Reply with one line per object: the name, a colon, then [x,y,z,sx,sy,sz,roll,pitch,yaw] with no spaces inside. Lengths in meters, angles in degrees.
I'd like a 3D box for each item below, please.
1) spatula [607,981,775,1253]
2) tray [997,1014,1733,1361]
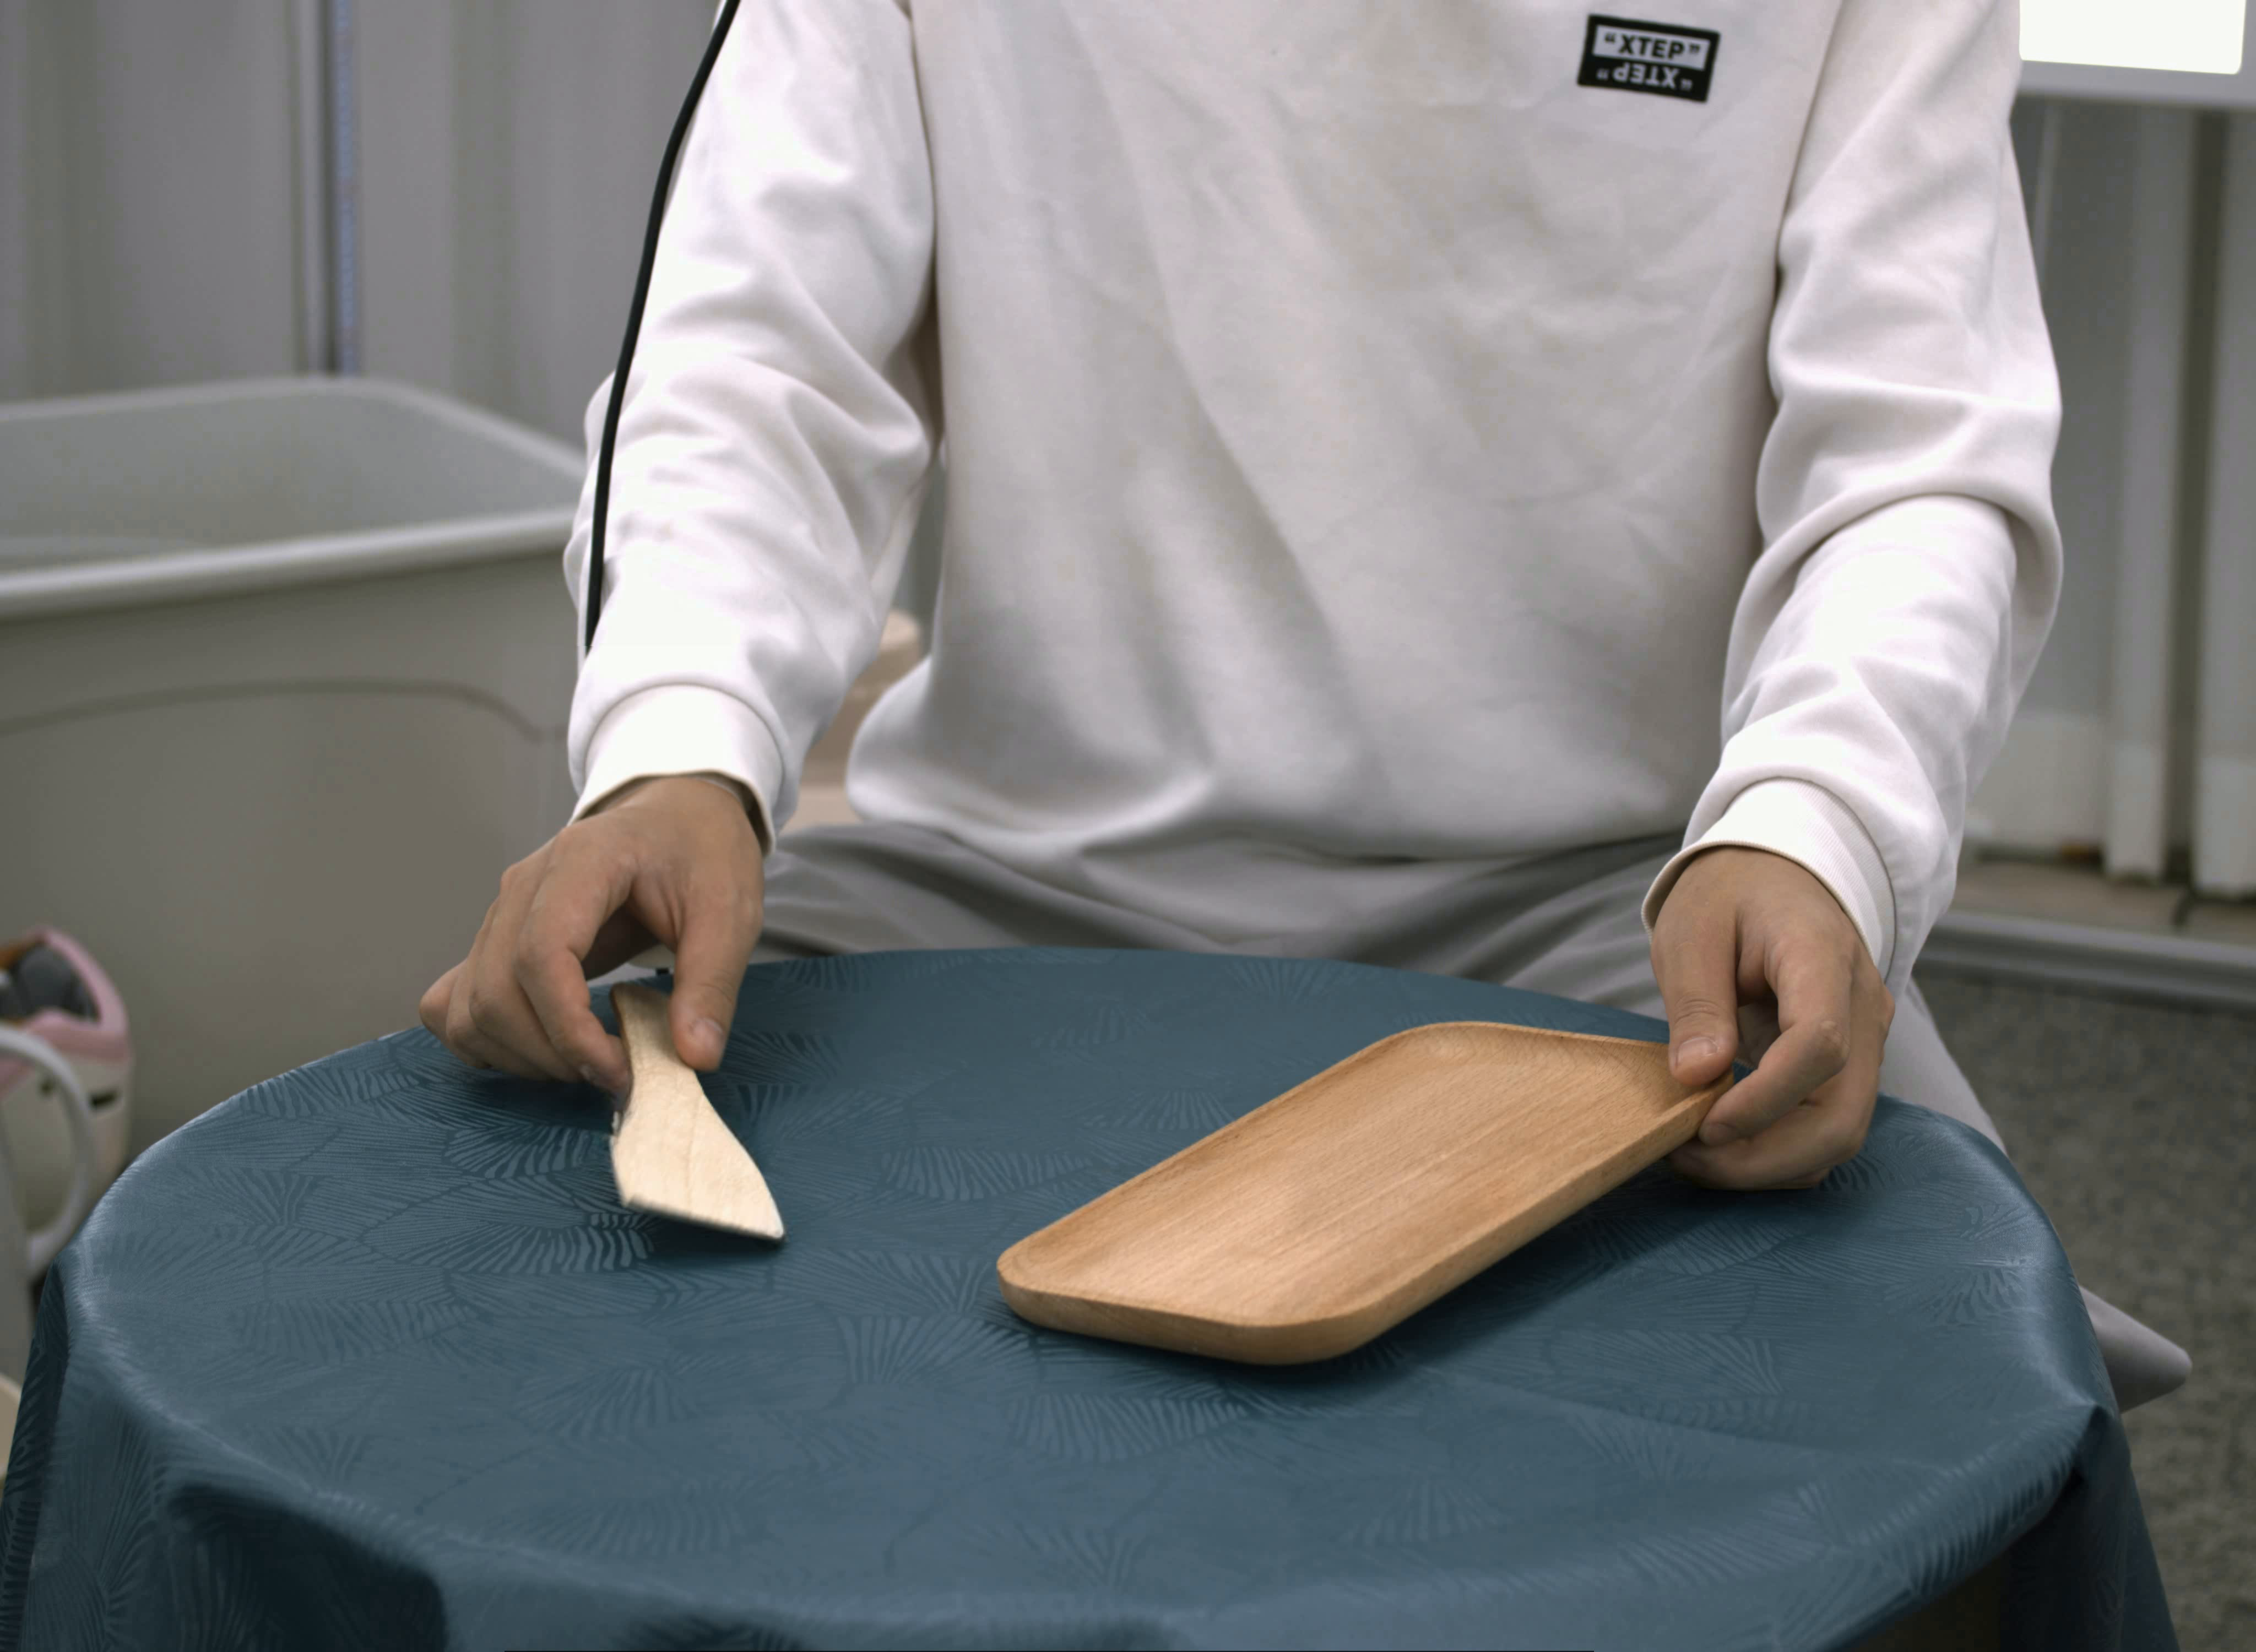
spatula: [-0.143,0.088,1.652,0.050,0.005,0.206,11,18,-13]
tray: [0.075,0.106,1.581,0.129,0.023,0.251,9,21,35]
